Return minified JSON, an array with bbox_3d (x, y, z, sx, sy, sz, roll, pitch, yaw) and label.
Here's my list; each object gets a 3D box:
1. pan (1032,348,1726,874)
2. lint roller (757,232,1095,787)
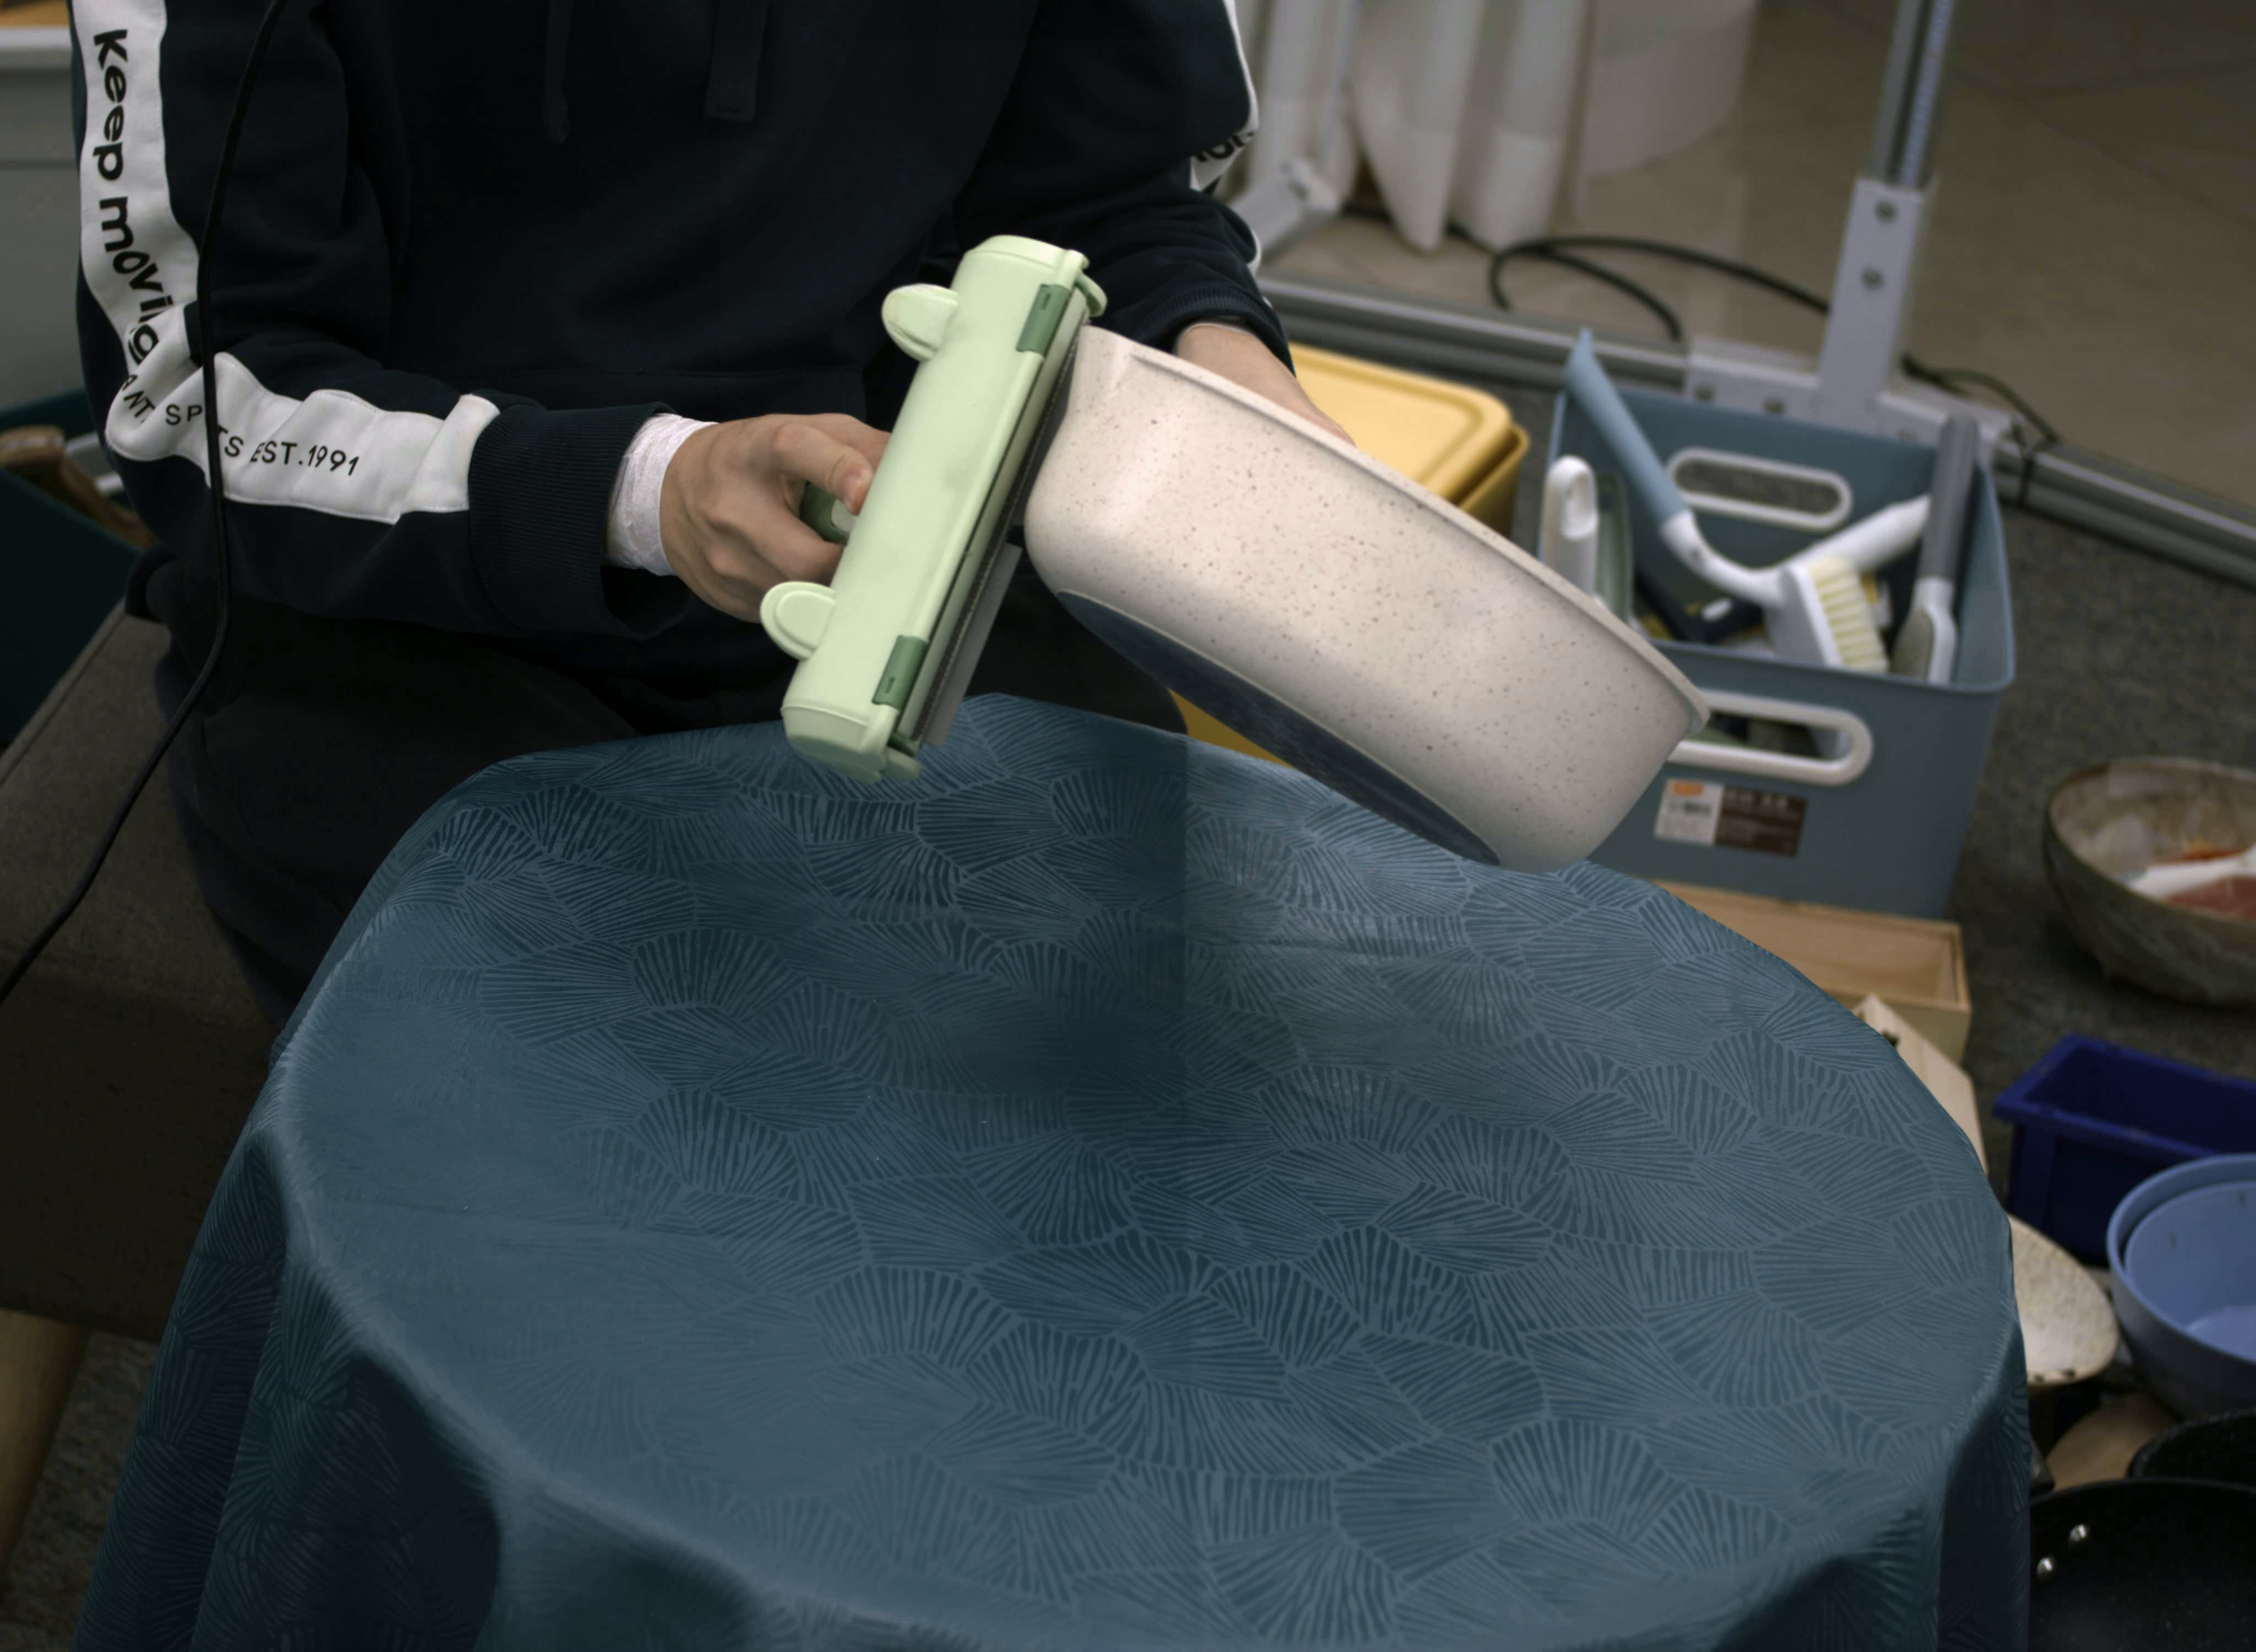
[{"bbox_3d":[0.059,-0.079,1.934,0.262,0.102,0.436,30,-3,-14],"label":"pan"},{"bbox_3d":[-0.103,-0.115,1.902,0.081,0.199,0.184,28,-14,-33],"label":"lint roller"}]
